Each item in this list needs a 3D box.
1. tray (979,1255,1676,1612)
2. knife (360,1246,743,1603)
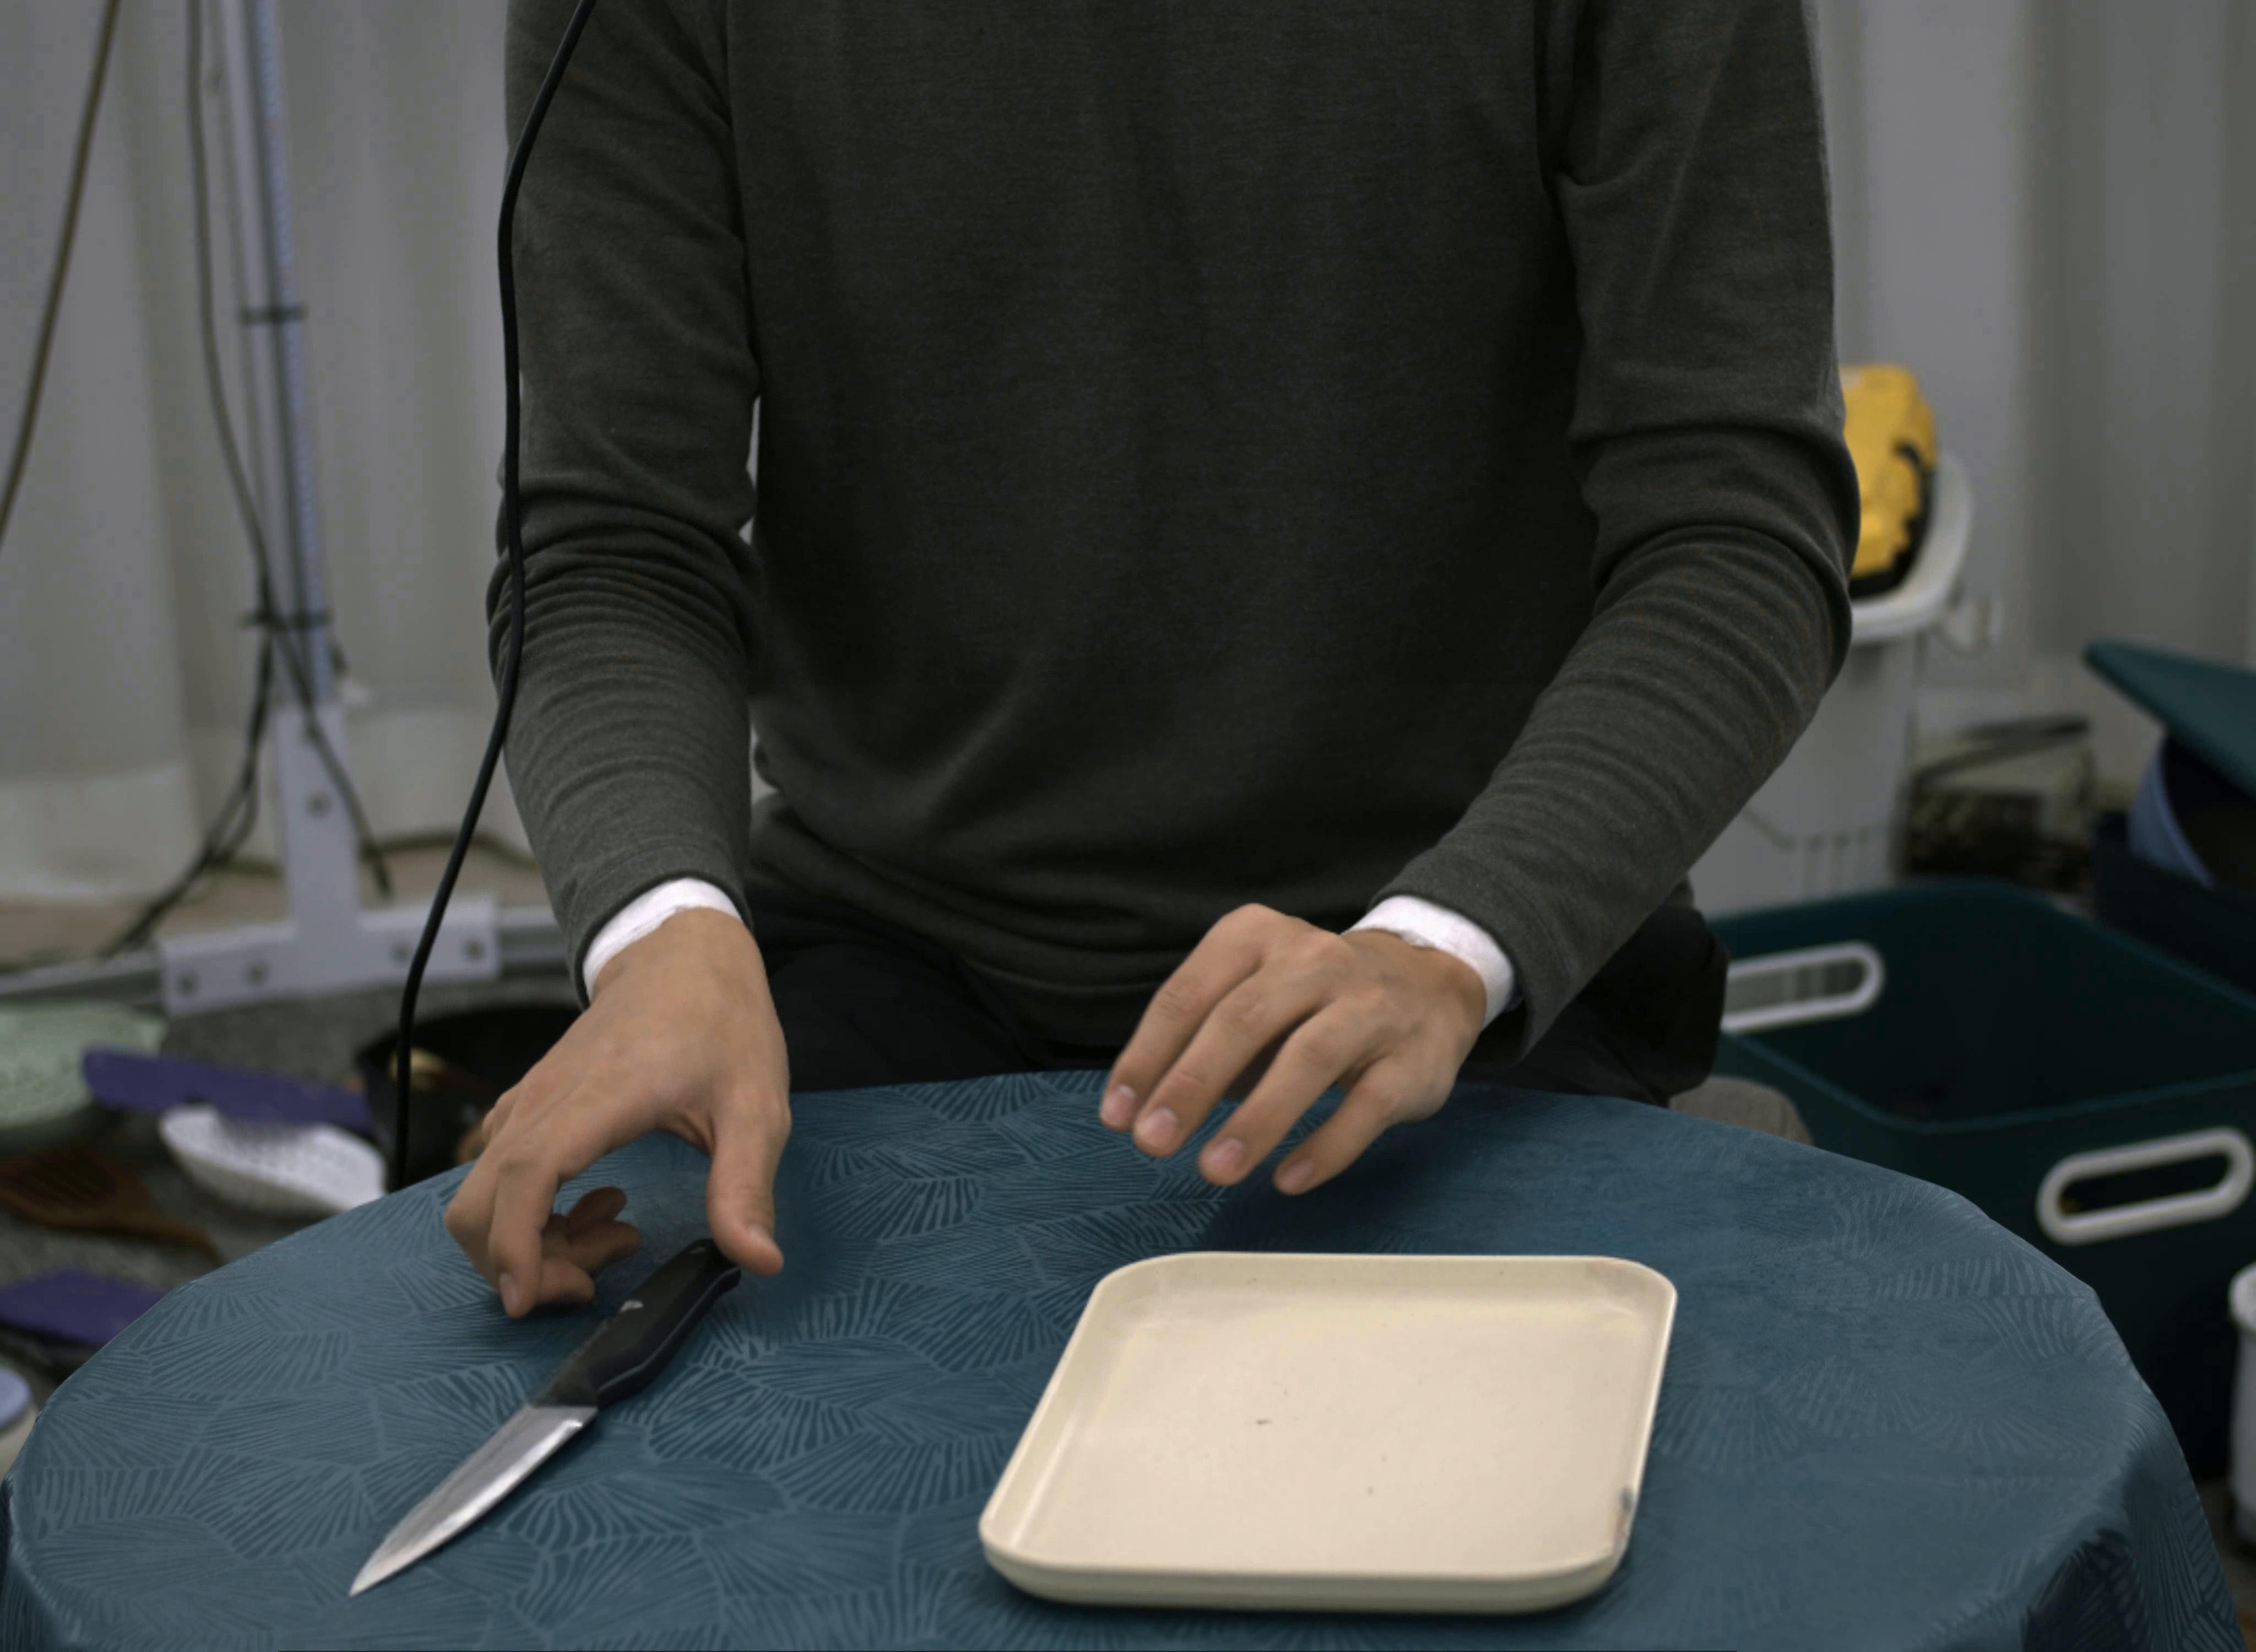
[{"bbox_3d":[0.059,0.164,1.487,0.171,0.017,0.241,-1,15,10],"label":"tray"},{"bbox_3d":[-0.162,0.166,1.531,0.024,0.016,0.239,0,17,20],"label":"knife"}]
